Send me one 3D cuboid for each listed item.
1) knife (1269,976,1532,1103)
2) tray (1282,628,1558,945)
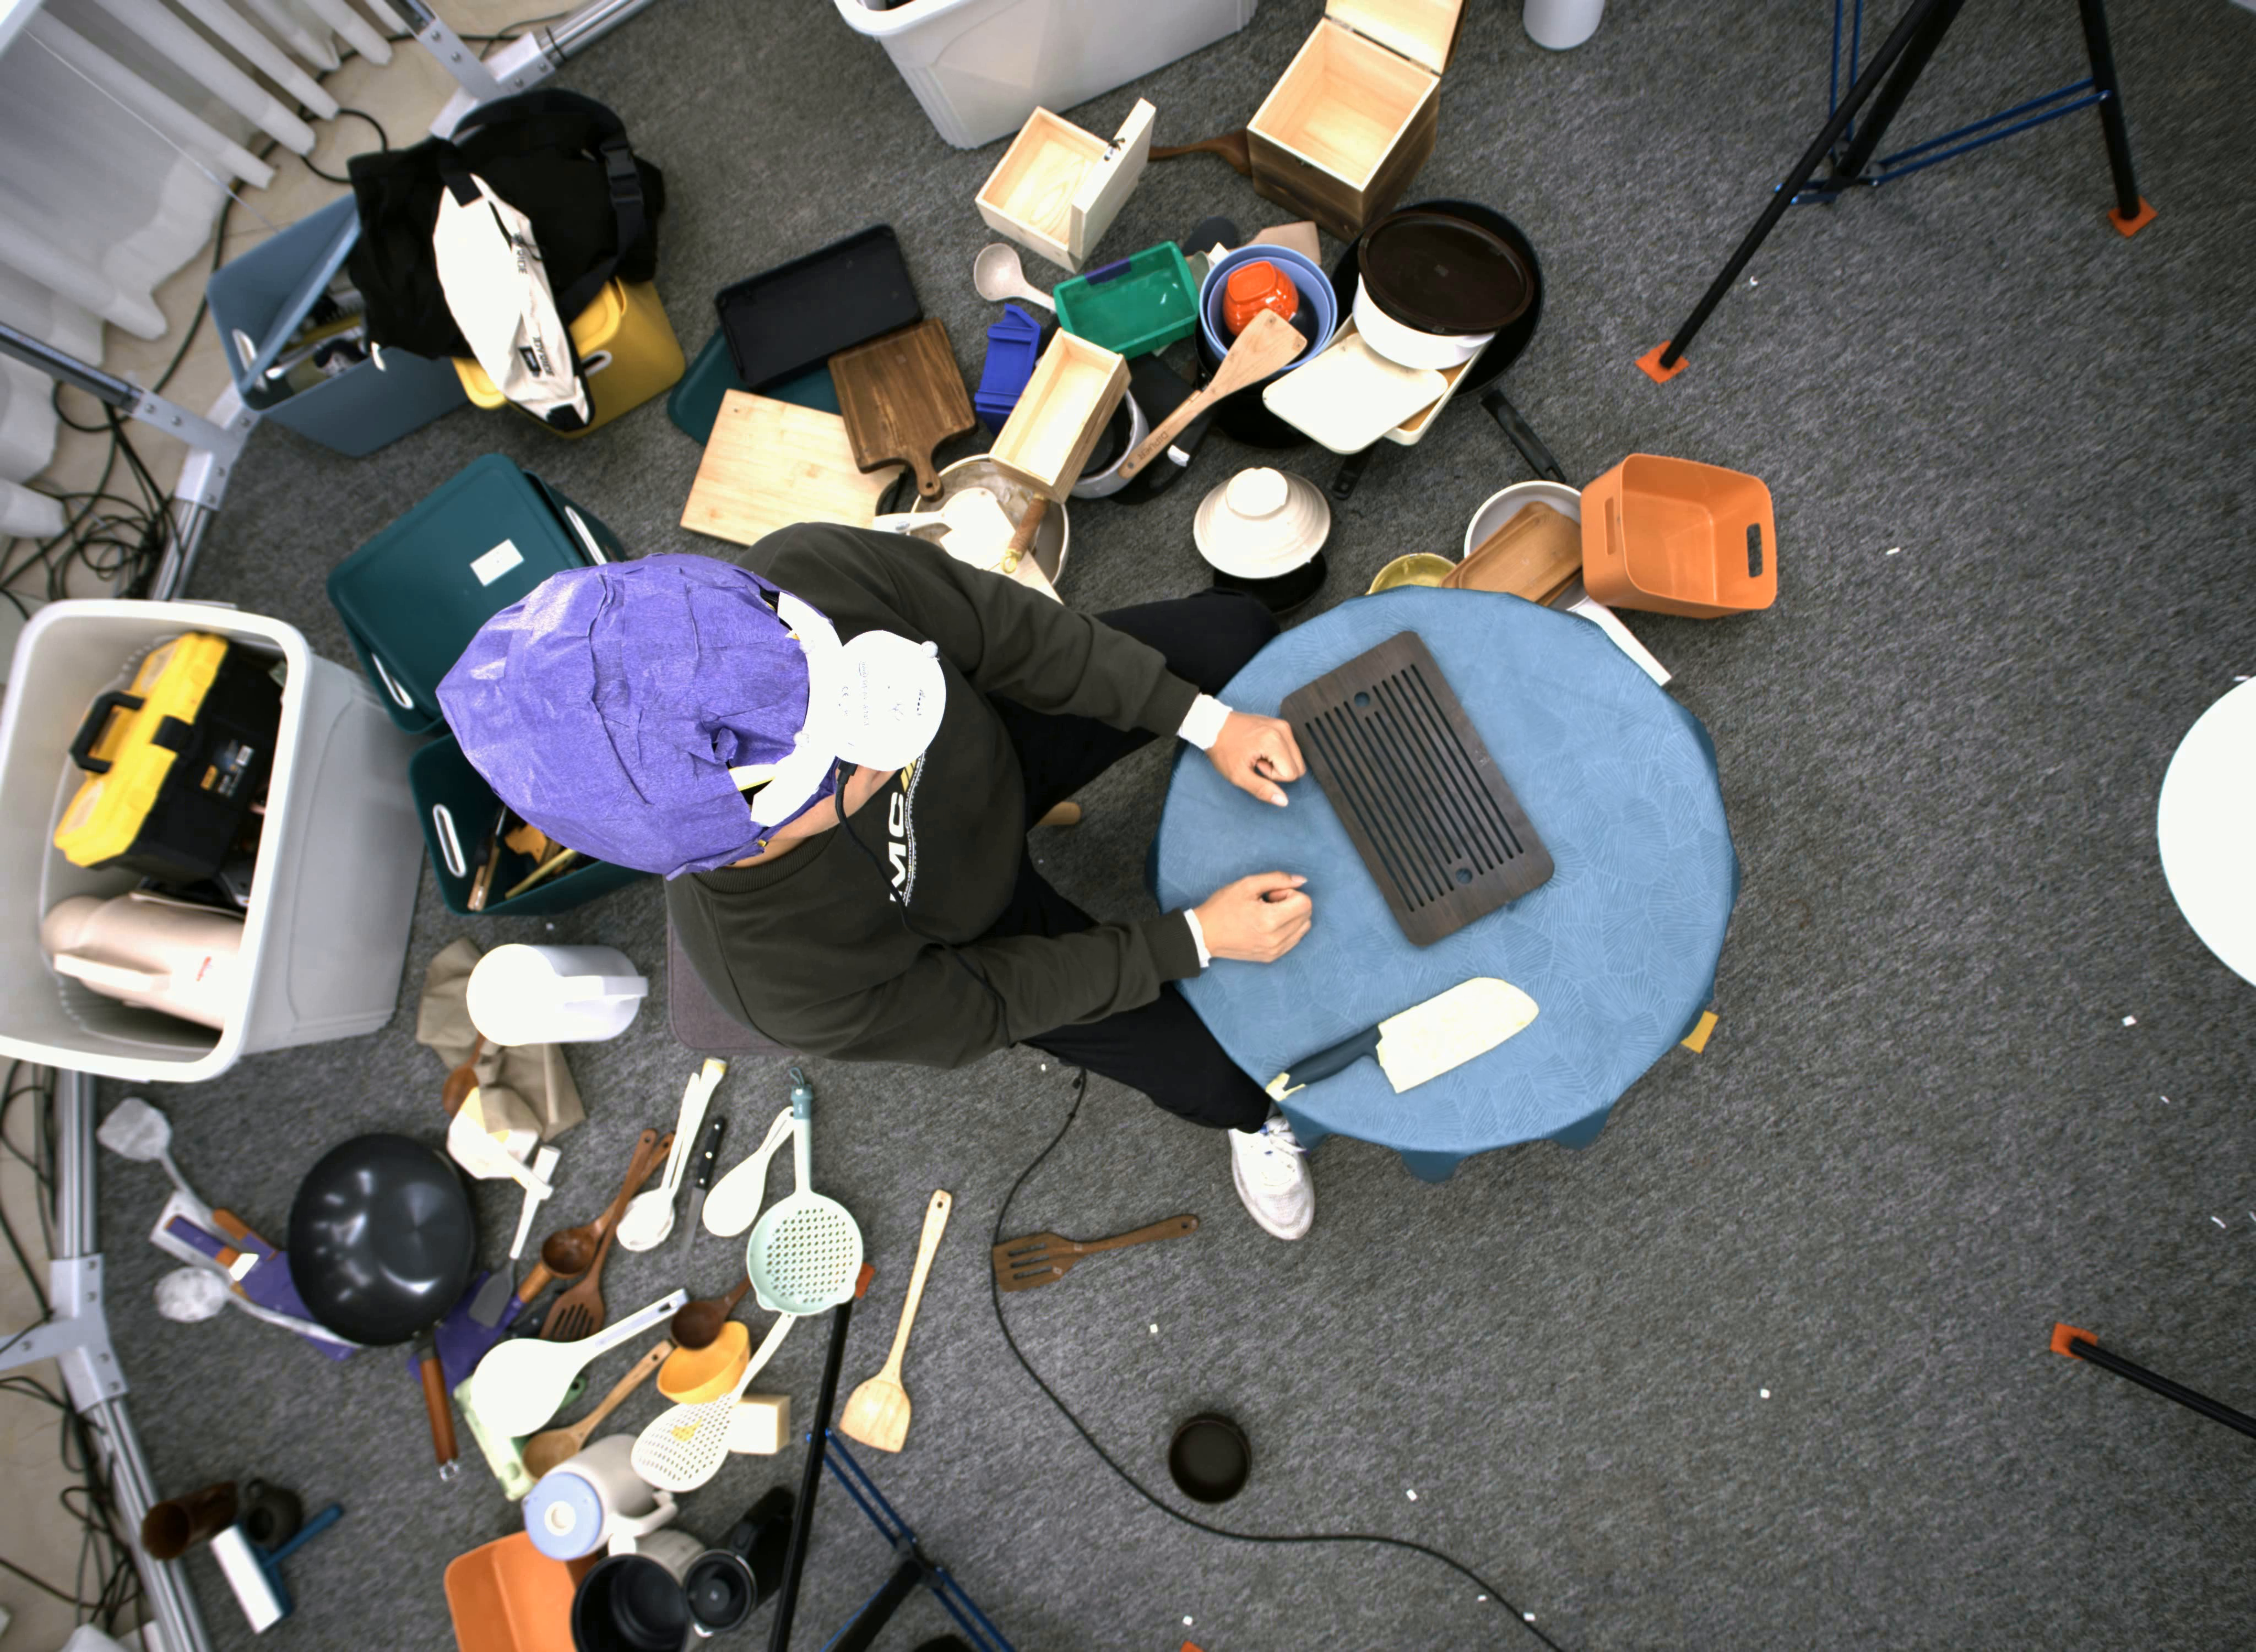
[{"bbox_3d":[0.286,0.232,1.441,0.291,0.027,0.080,-24,81,8],"label":"knife"},{"bbox_3d":[0.305,-0.045,1.451,0.171,0.018,0.304,-29,82,8],"label":"tray"}]
